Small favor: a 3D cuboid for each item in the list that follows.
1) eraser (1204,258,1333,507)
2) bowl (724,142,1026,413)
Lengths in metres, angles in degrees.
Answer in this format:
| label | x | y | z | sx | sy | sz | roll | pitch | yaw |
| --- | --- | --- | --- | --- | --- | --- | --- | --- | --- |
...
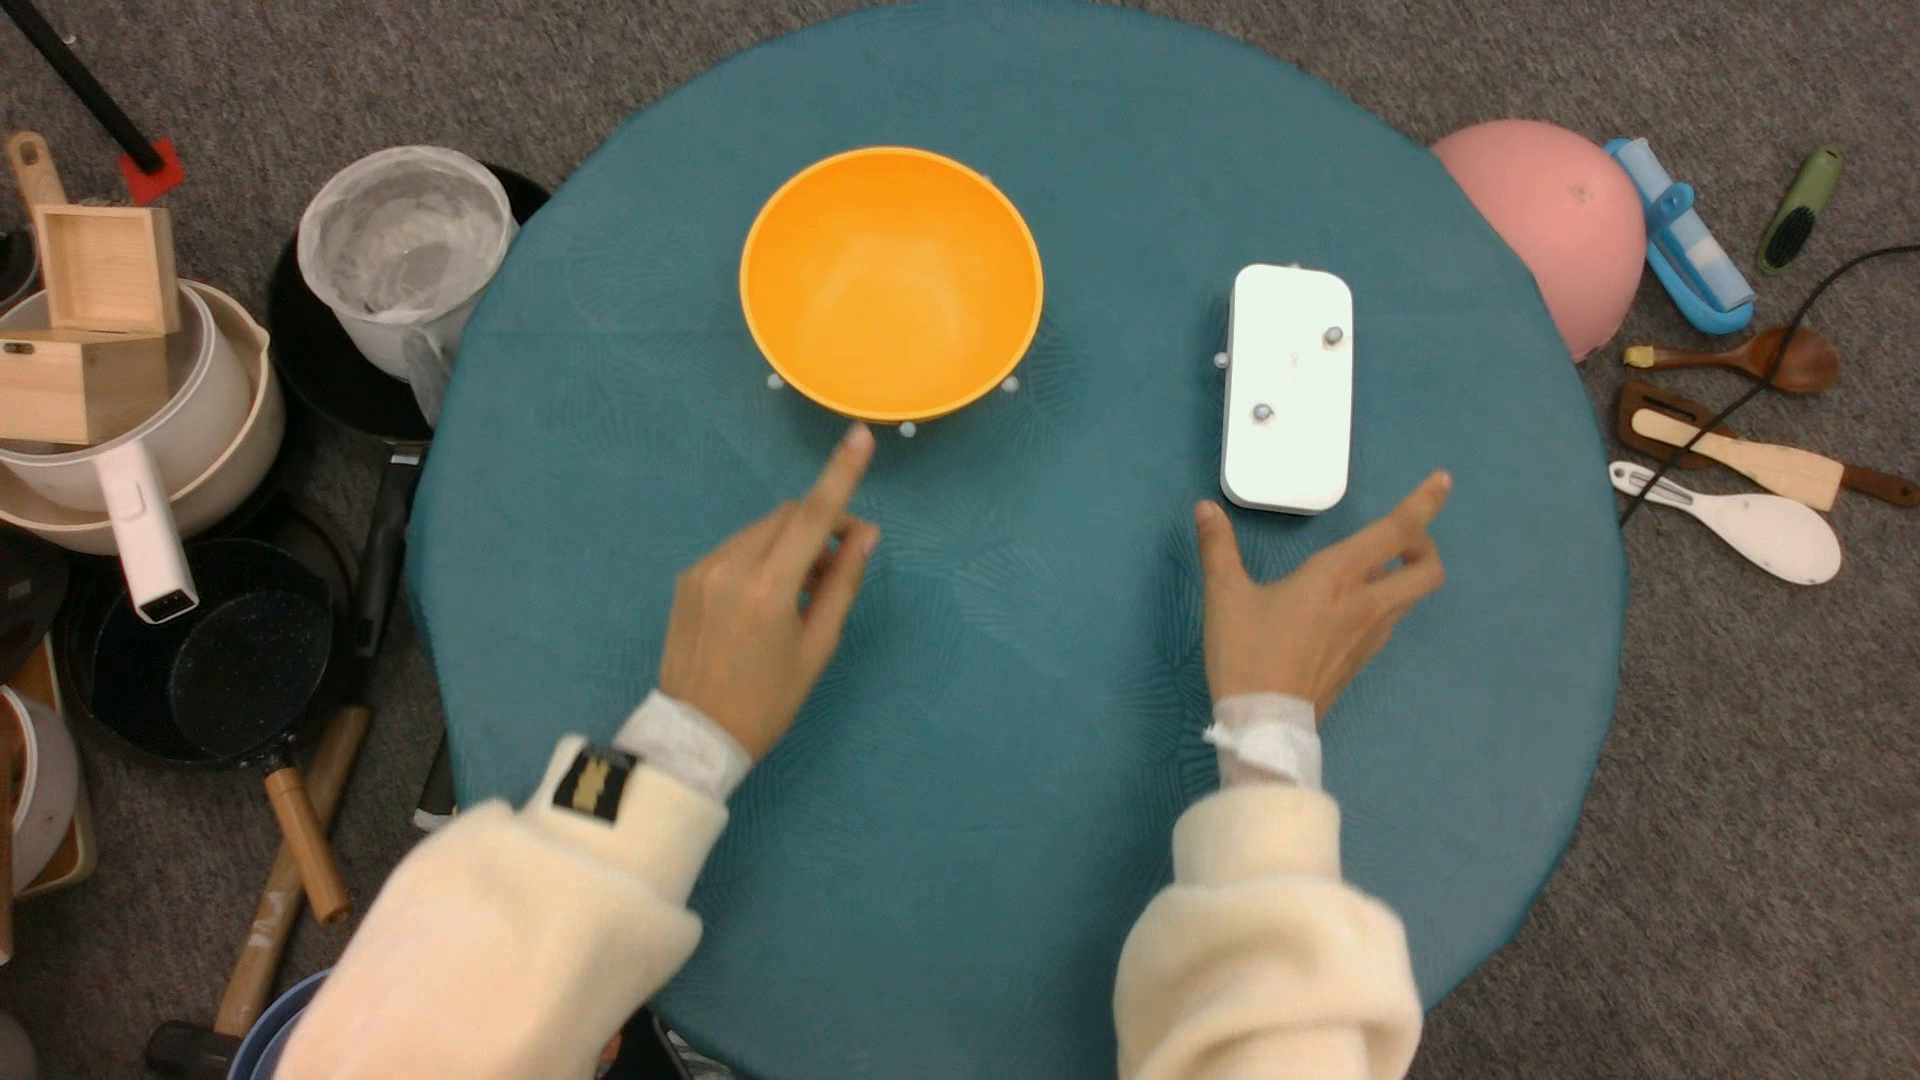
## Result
| label | x | y | z | sx | sy | sz | roll | pitch | yaw |
| --- | --- | --- | --- | --- | --- | --- | --- | --- | --- |
| eraser | 0.156 | -0.082 | 0.704 | 0.063 | 0.034 | 0.131 | 7 | 71 | -3 |
| bowl | -0.043 | -0.120 | 0.683 | 0.145 | 0.060 | 0.146 | 2 | 70 | -5 |
